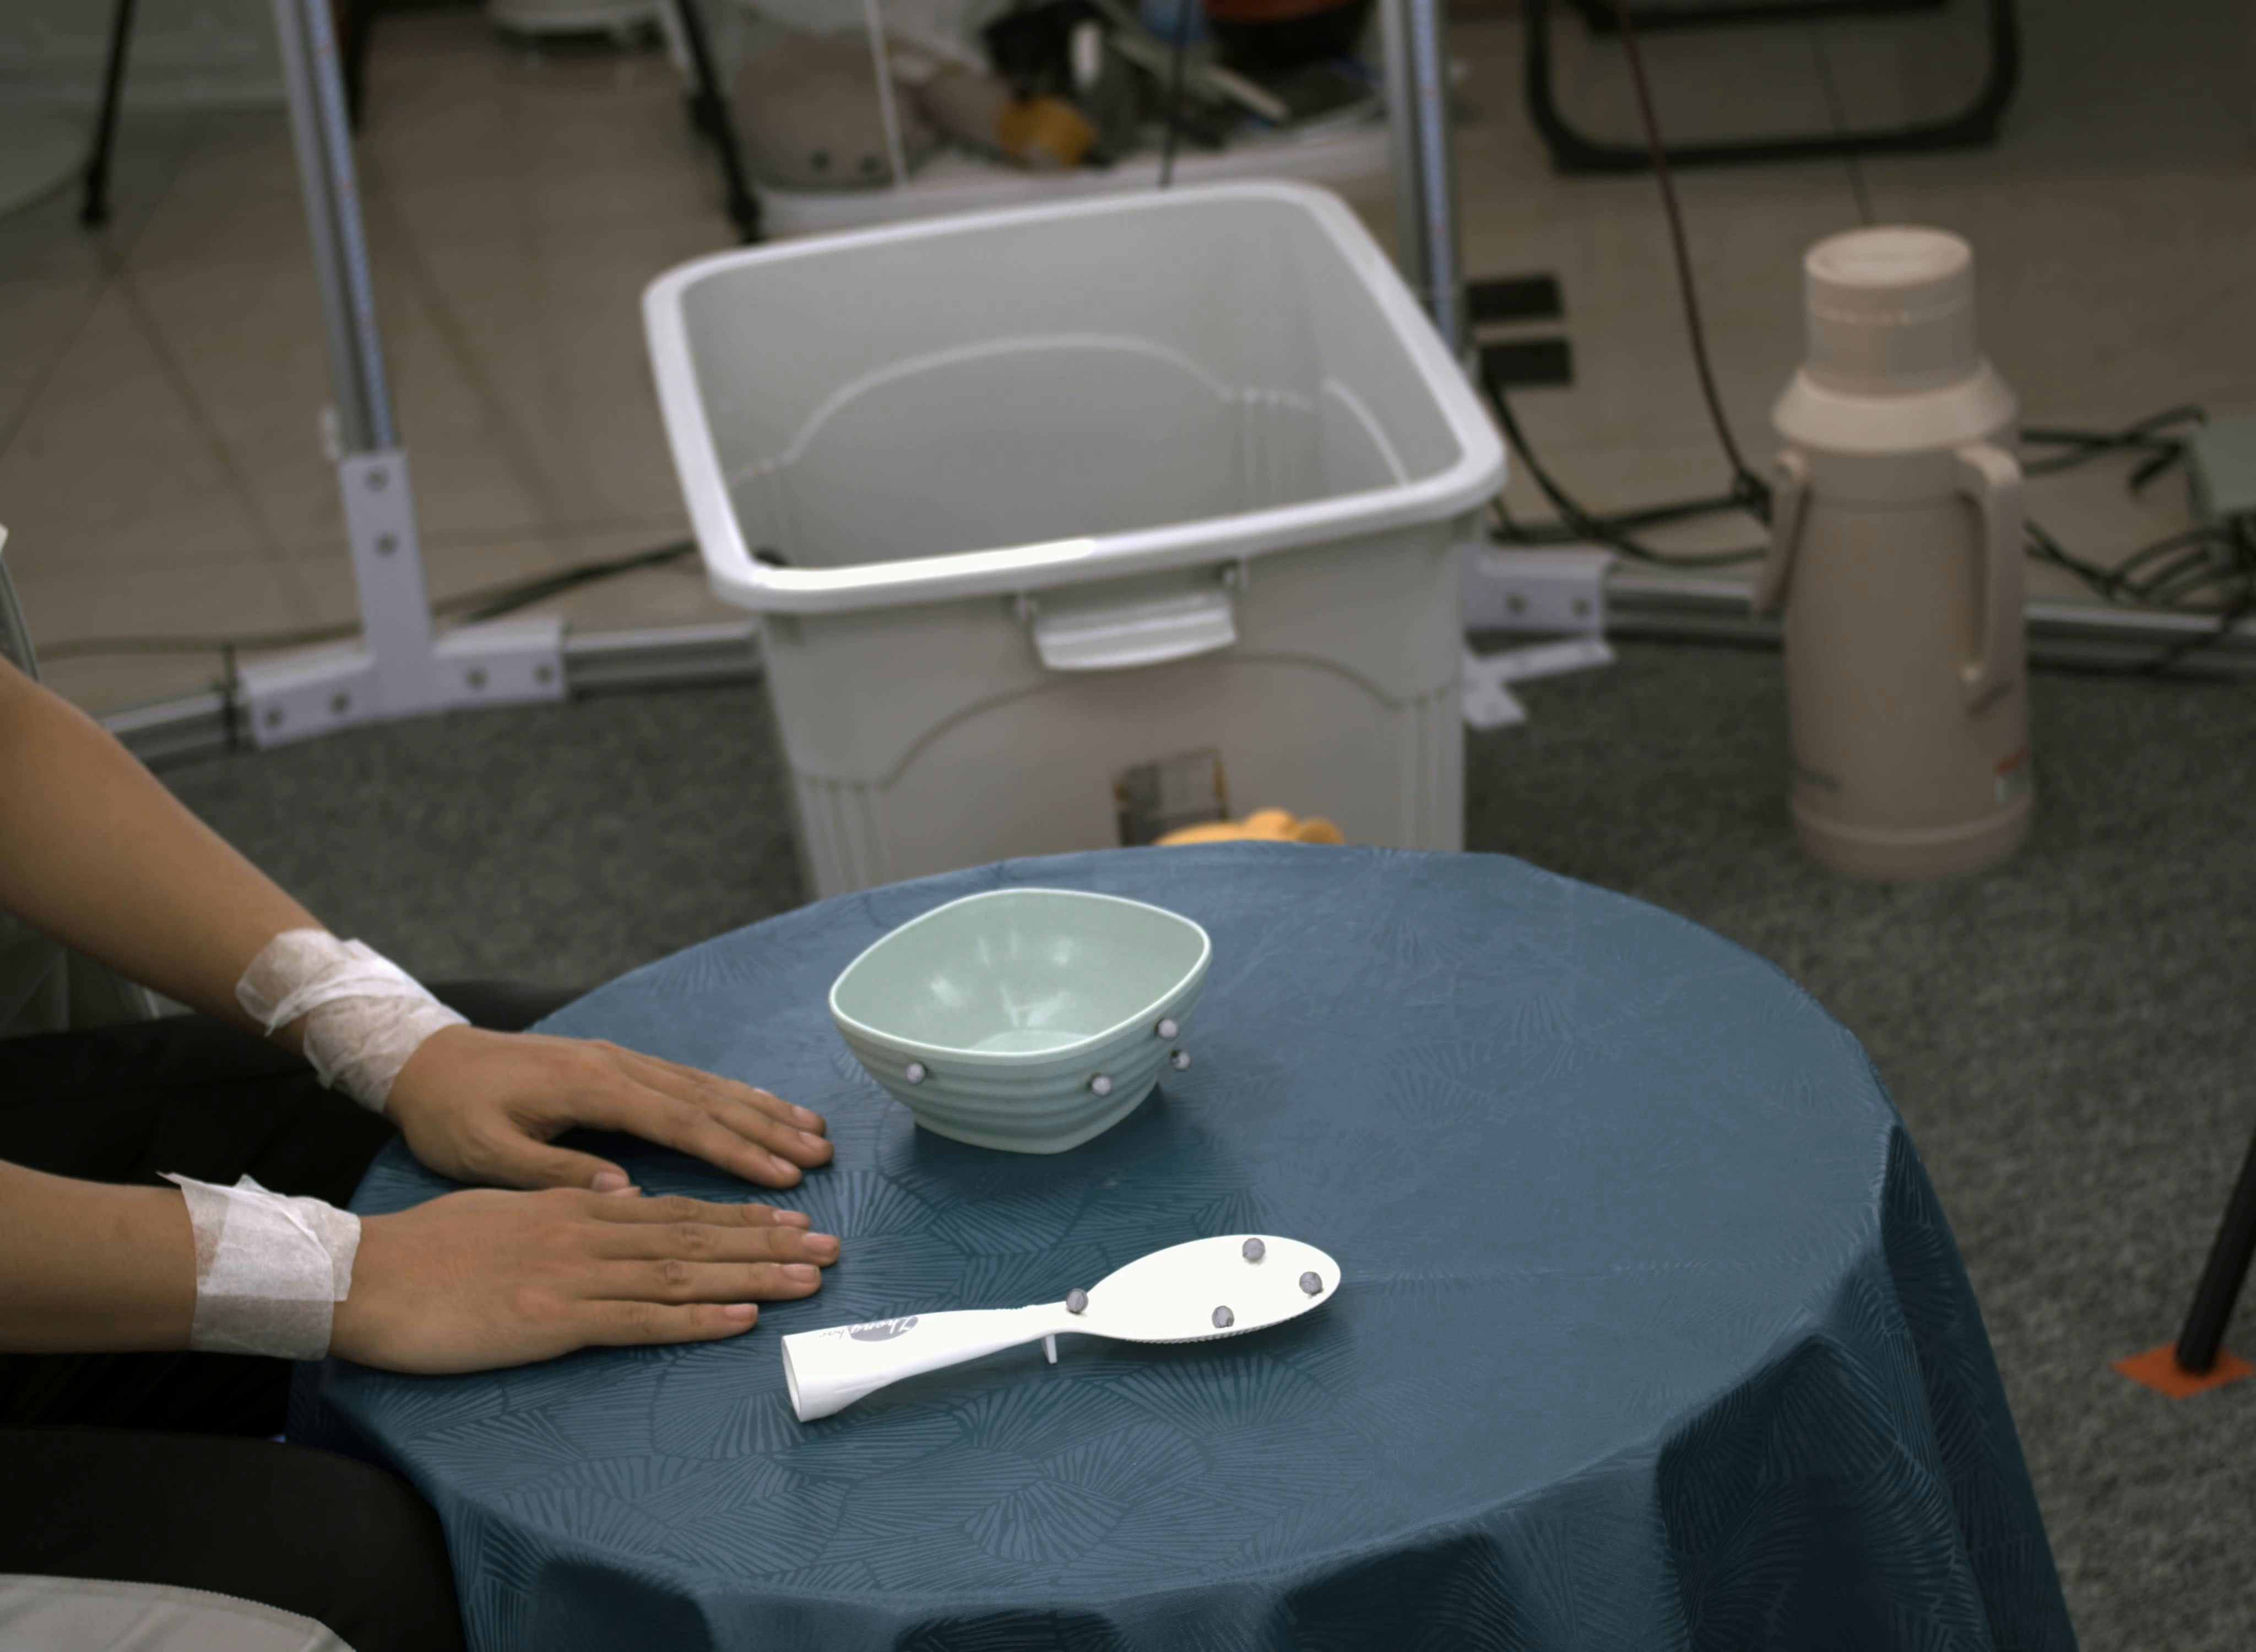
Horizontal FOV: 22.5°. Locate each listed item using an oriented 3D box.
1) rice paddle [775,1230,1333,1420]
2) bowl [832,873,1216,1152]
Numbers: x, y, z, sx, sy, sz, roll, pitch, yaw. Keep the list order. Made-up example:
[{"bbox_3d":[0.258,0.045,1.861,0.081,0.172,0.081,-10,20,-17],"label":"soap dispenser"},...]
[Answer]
[{"bbox_3d":[-0.025,0.176,2.042,0.205,0.030,0.068,-12,27,-11],"label":"rice paddle"},{"bbox_3d":[-0.038,0.079,2.217,0.151,0.059,0.149,-4,29,2],"label":"bowl"}]
